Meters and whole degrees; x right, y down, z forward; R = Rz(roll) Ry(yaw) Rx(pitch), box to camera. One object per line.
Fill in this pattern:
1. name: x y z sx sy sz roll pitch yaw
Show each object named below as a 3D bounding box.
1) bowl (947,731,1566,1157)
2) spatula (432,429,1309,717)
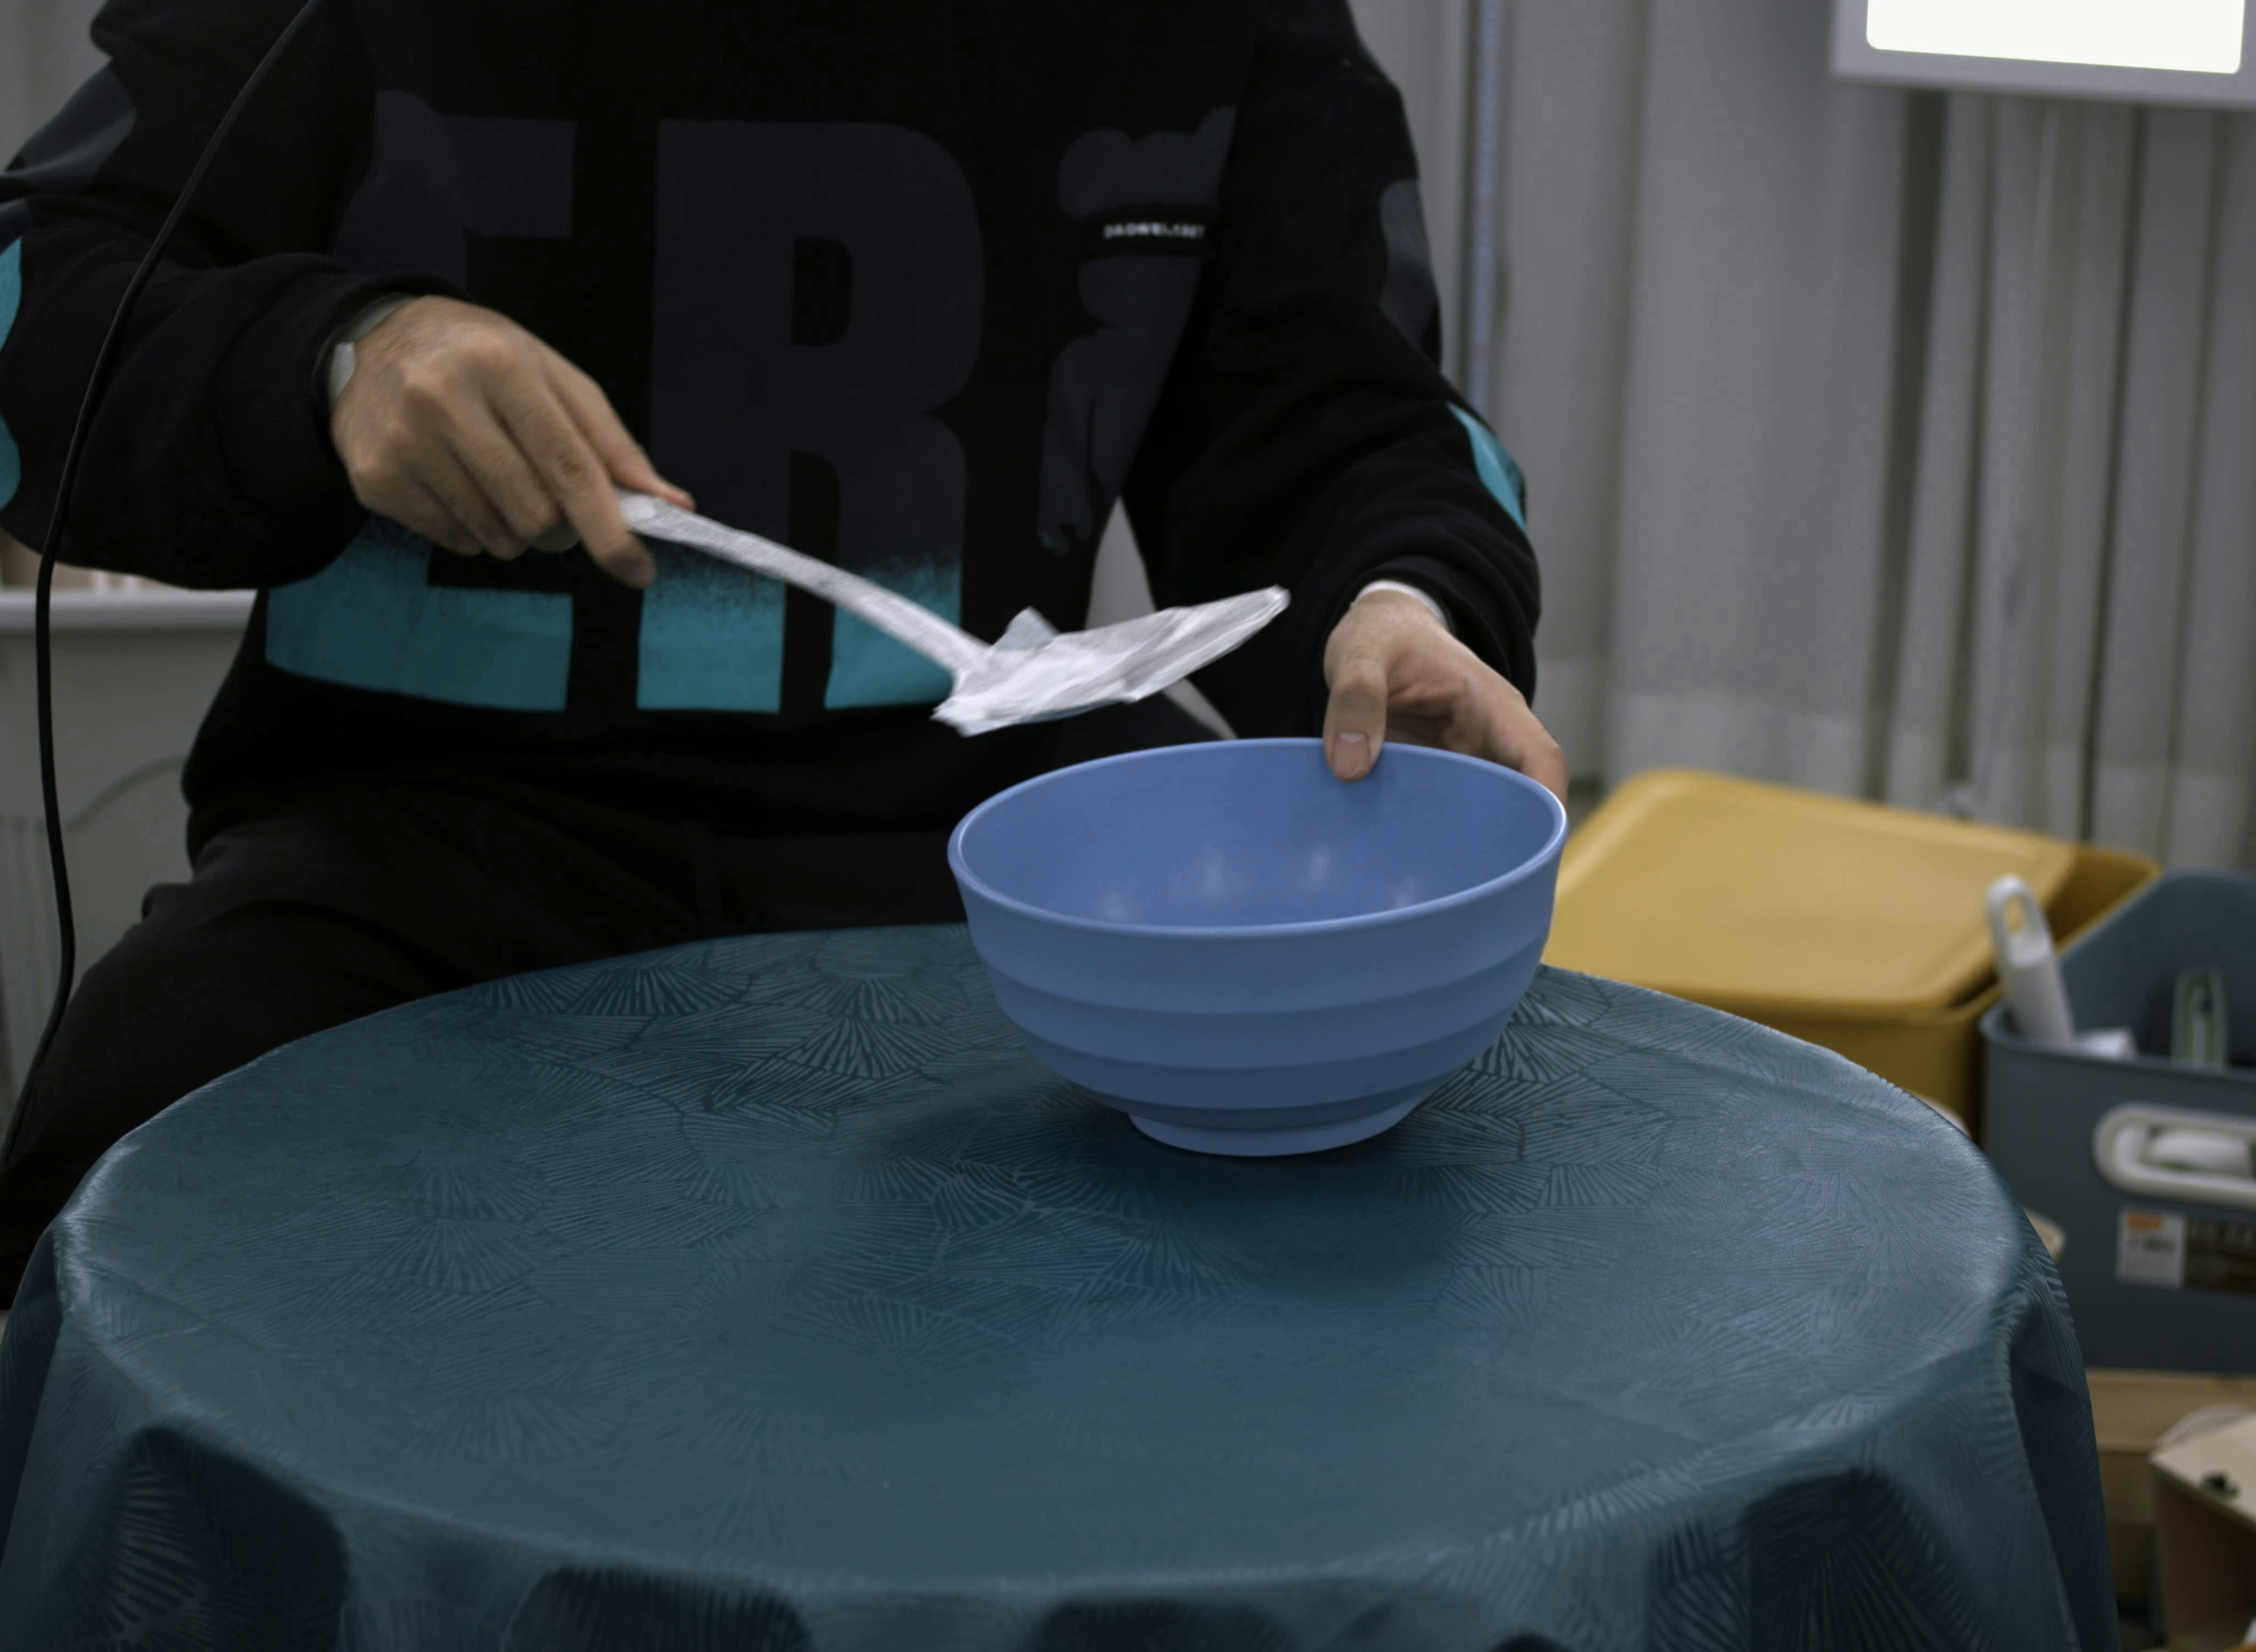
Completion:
1. bowl: 0.043 0.045 1.677 0.196 0.096 0.195 -2 19 1
2. spatula: -0.103 -0.091 1.671 0.360 0.045 0.099 21 39 34
